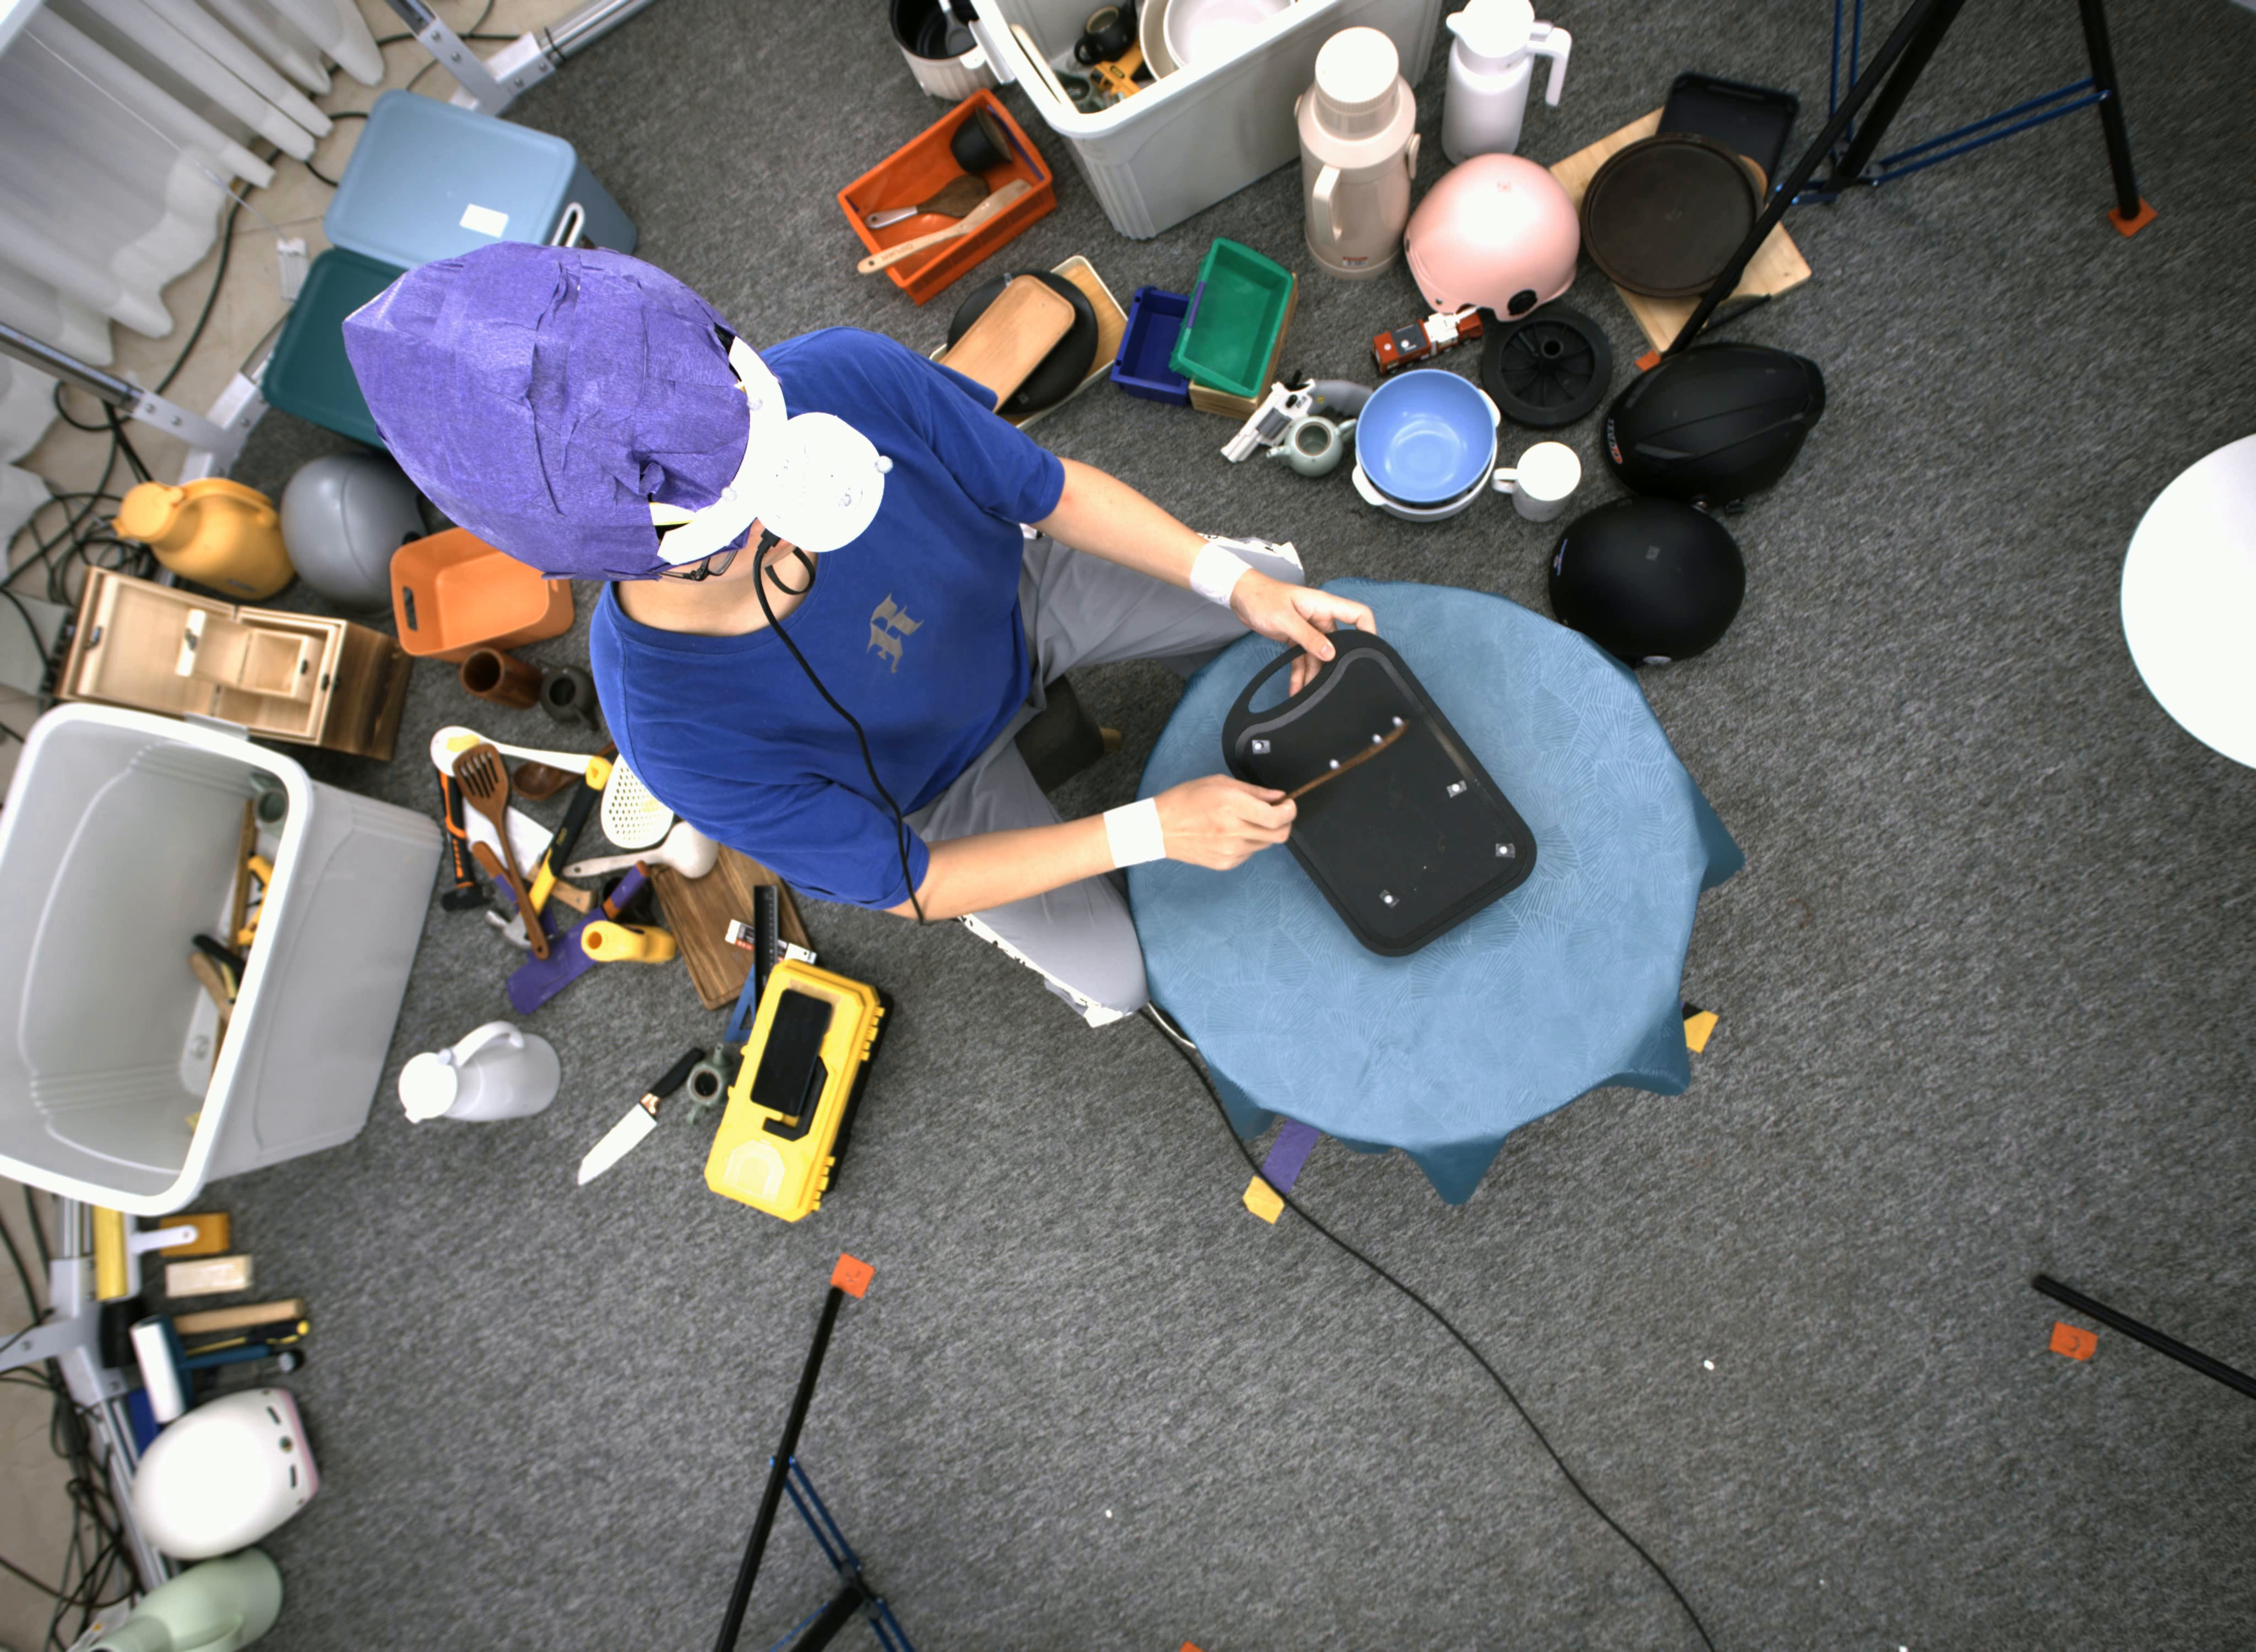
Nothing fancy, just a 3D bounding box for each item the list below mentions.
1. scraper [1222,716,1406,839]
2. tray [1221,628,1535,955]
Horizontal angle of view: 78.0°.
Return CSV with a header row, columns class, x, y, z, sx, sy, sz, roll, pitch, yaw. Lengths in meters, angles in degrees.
class,x,y,z,sx,sy,sz,roll,pitch,yaw
scraper,0.178,-0.045,1.324,0.214,0.075,0.011,-33,92,18
tray,0.240,-0.037,1.373,0.215,0.009,0.326,-36,93,26
